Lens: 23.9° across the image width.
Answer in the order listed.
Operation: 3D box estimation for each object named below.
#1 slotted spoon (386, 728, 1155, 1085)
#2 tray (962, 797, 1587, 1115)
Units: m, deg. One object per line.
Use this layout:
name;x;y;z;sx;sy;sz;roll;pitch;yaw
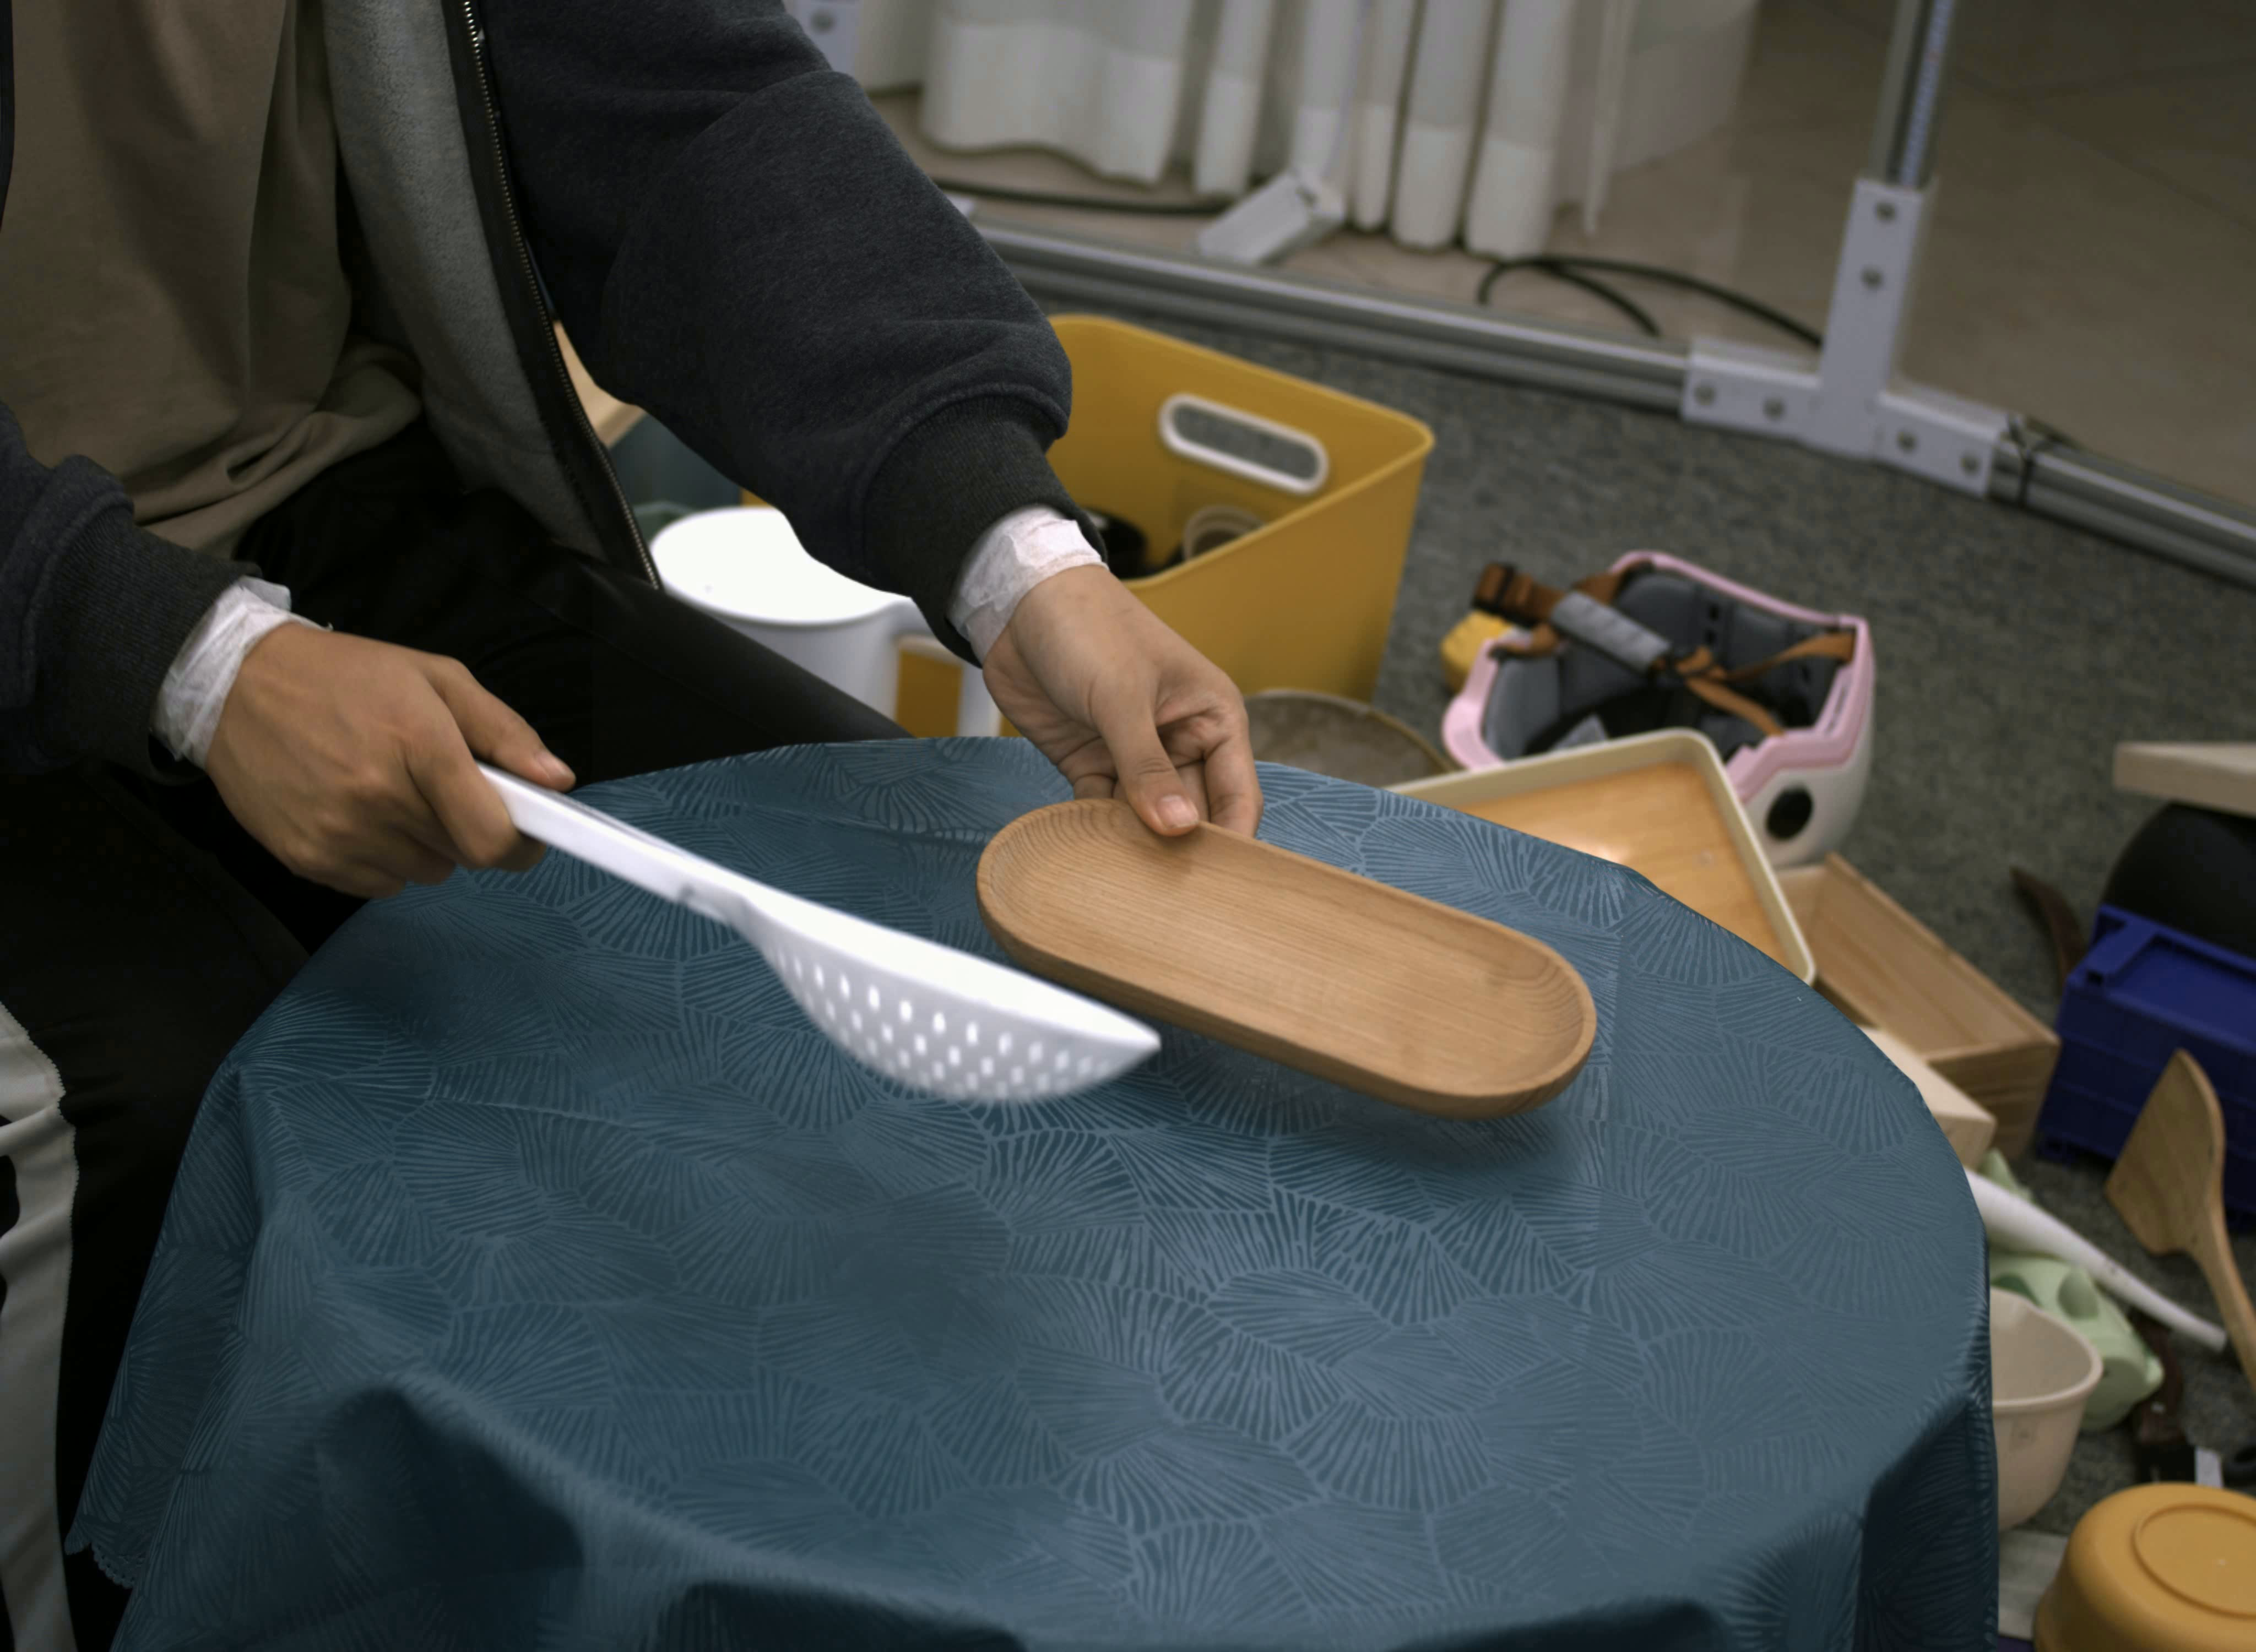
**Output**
slotted spoon;-0.133;0.019;1.759;0.352;0.046;0.135;27;5;42
tray;0.050;0.045;1.878;0.232;0.020;0.102;18;37;17
